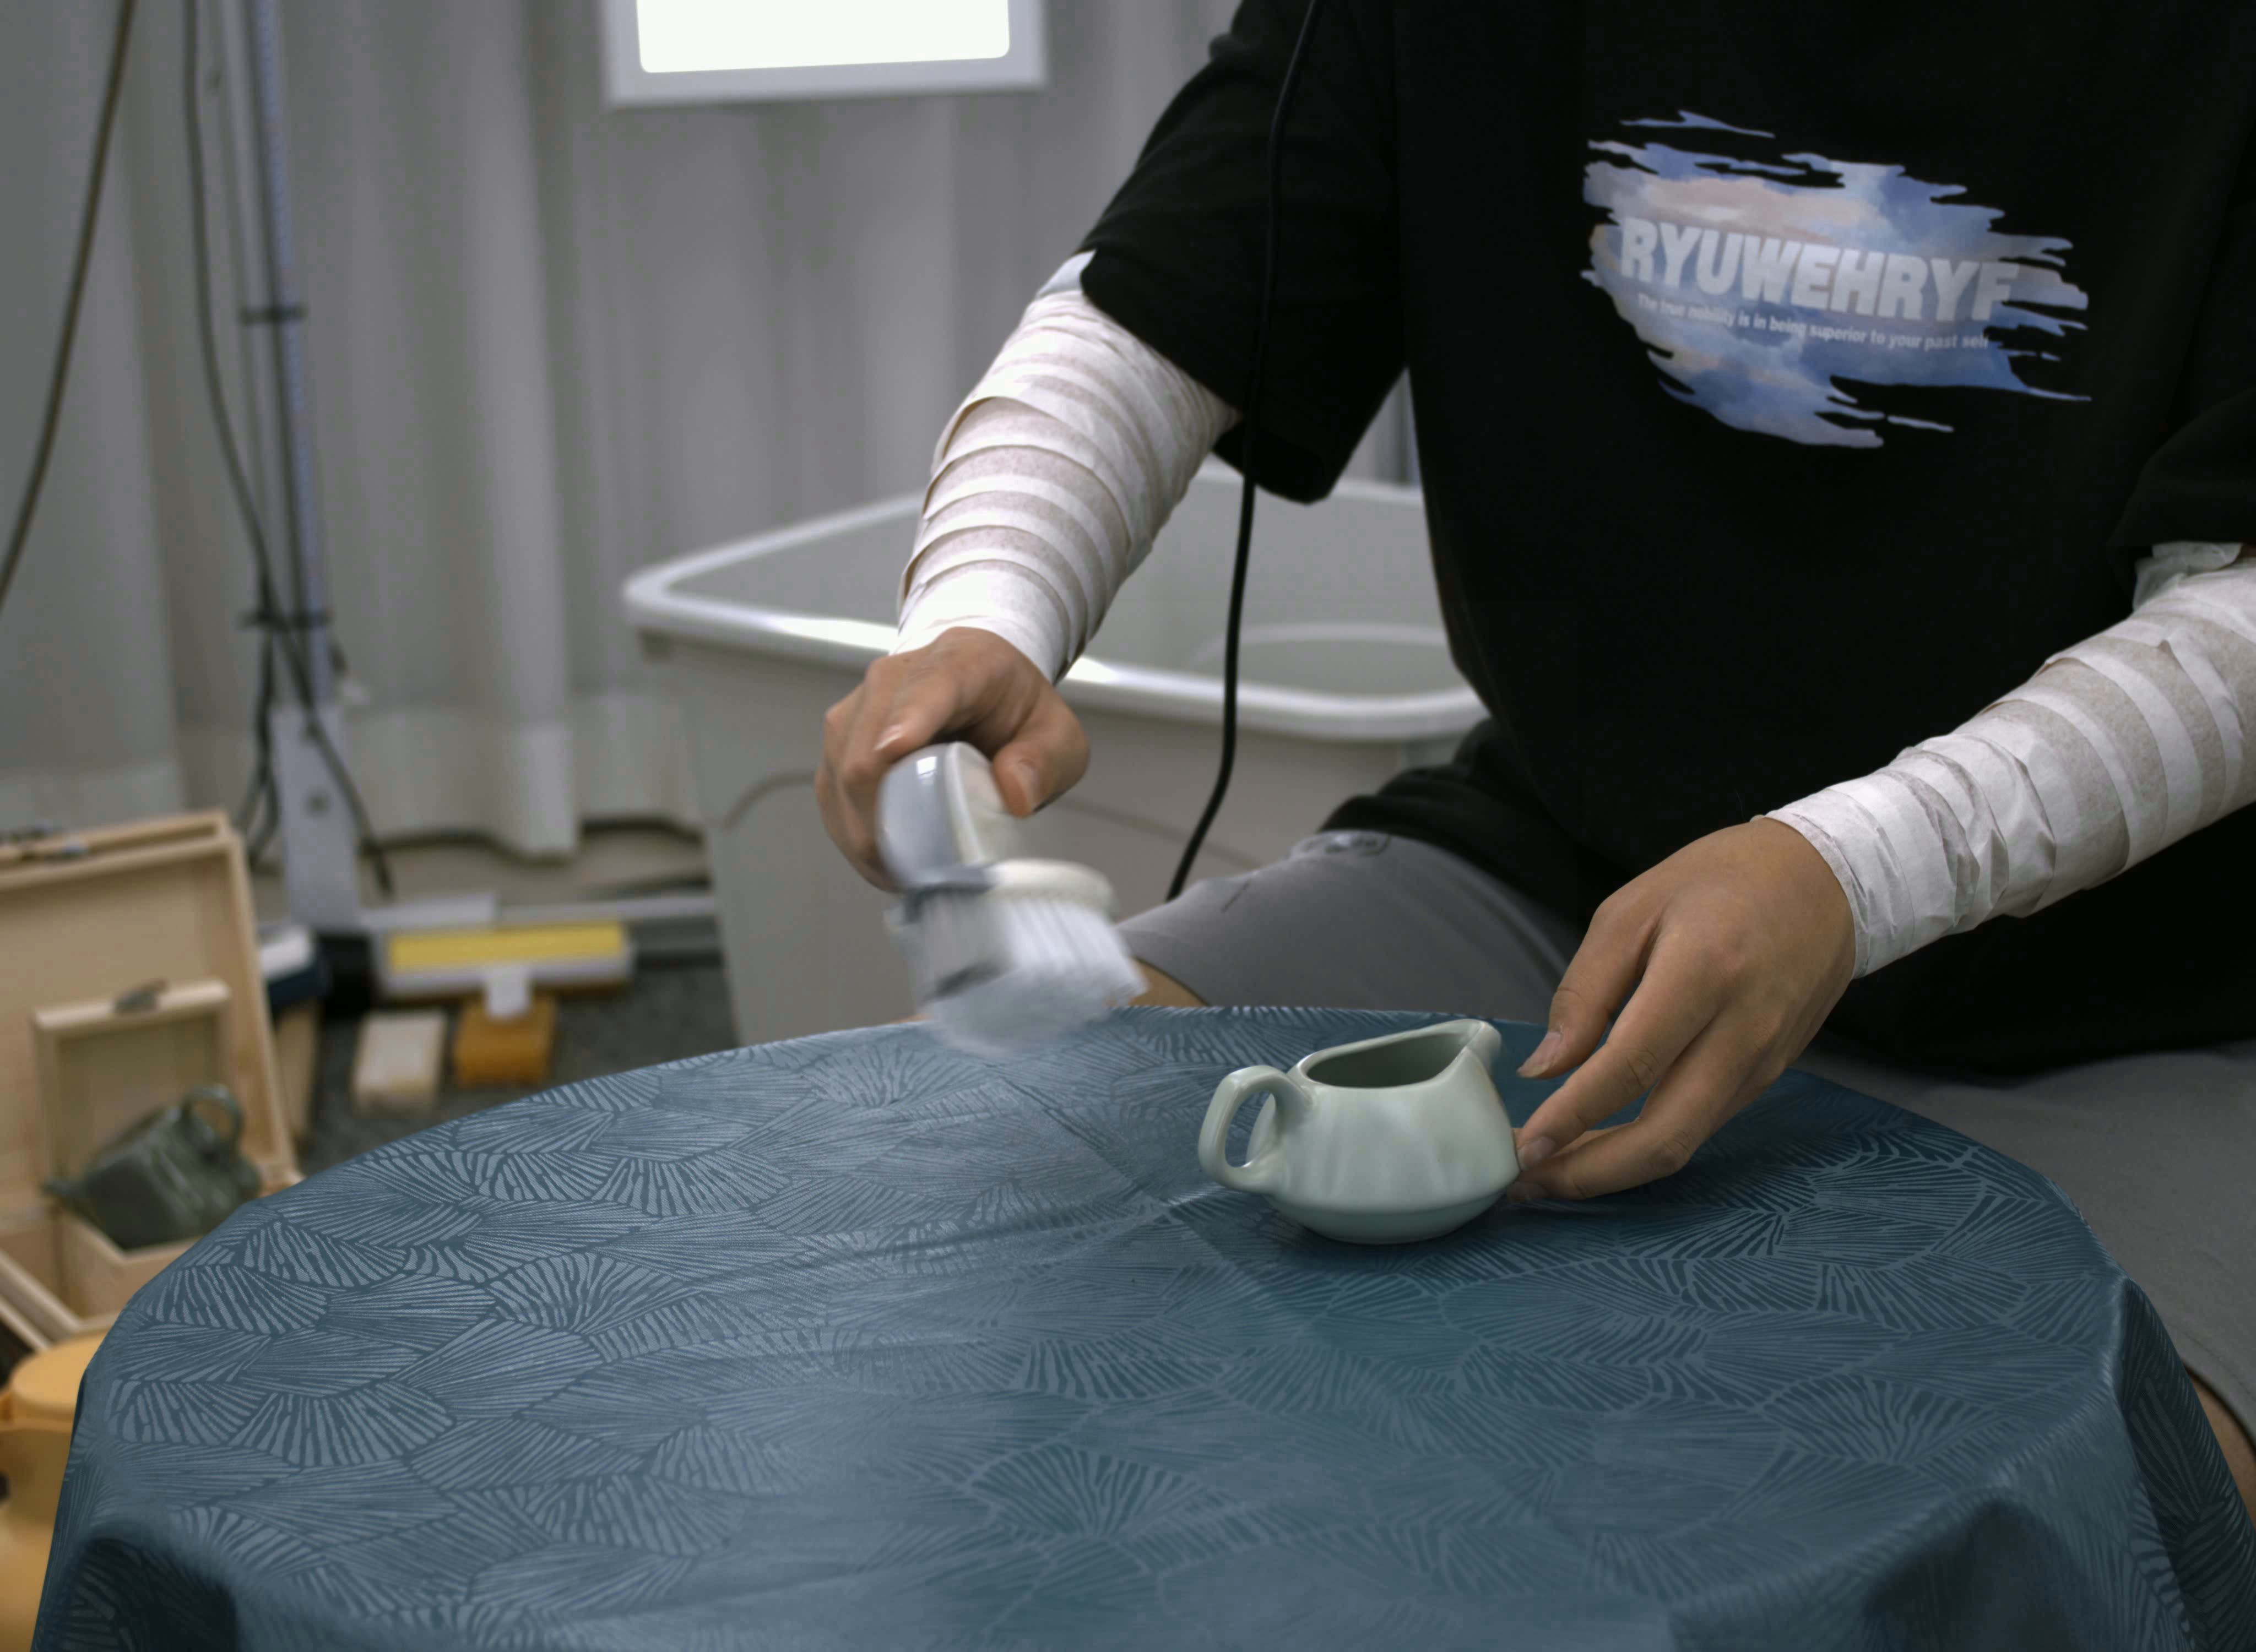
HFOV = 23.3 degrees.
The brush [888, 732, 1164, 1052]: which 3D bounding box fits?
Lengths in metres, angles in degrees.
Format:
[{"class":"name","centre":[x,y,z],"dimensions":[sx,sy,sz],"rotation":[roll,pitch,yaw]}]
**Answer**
[{"class":"brush","centre":[-0.041,0.013,1.671],"dimensions":[0.061,0.095,0.175],"rotation":[-30,-10,5]}]

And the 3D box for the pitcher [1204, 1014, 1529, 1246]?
[{"class":"pitcher","centre":[0.070,0.096,1.661],"dimensions":[0.107,0.060,0.086],"rotation":[-15,18,-33]}]
